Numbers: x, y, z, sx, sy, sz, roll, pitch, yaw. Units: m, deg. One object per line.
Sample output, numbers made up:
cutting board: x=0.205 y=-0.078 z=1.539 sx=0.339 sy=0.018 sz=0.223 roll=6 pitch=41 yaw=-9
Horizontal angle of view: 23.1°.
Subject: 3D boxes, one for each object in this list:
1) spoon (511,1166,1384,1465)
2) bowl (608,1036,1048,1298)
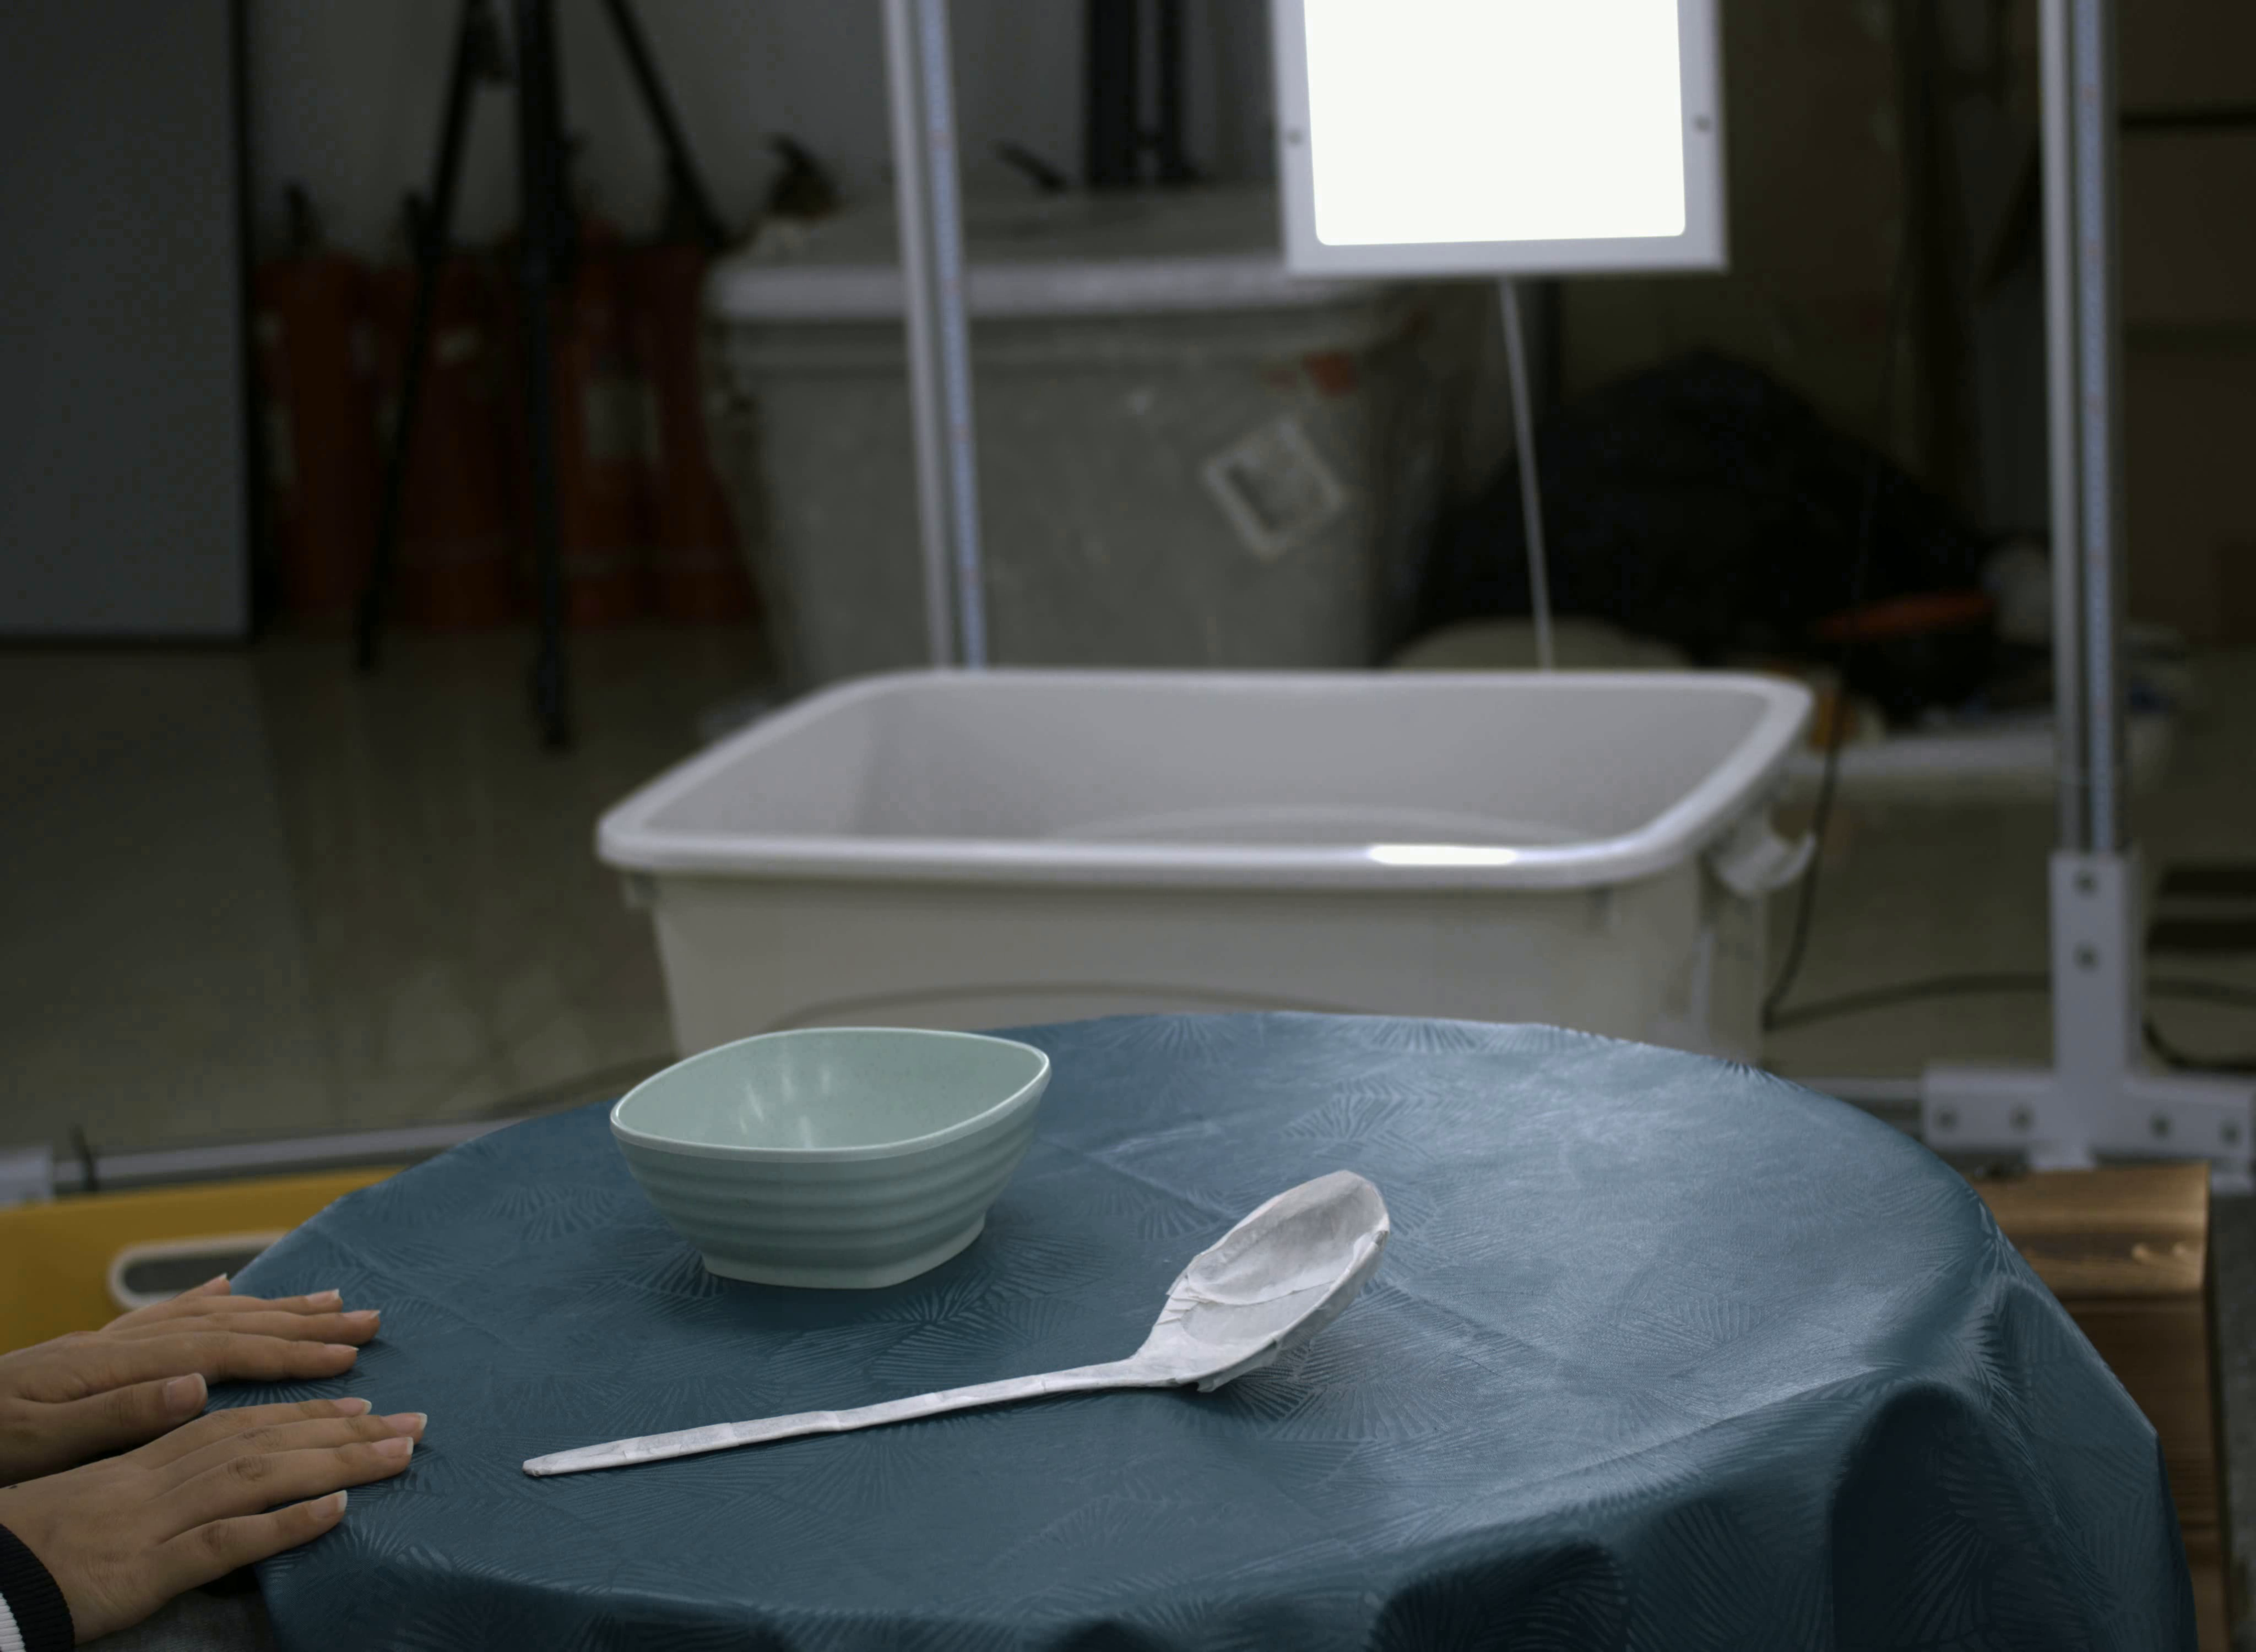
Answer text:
spoon: x=-0.055 y=0.150 z=1.702 sx=0.275 sy=0.059 sz=0.101 roll=-6 pitch=9 yaw=-6
bowl: x=-0.098 y=0.118 z=1.859 sx=0.151 sy=0.059 sz=0.151 roll=-5 pitch=13 yaw=0
